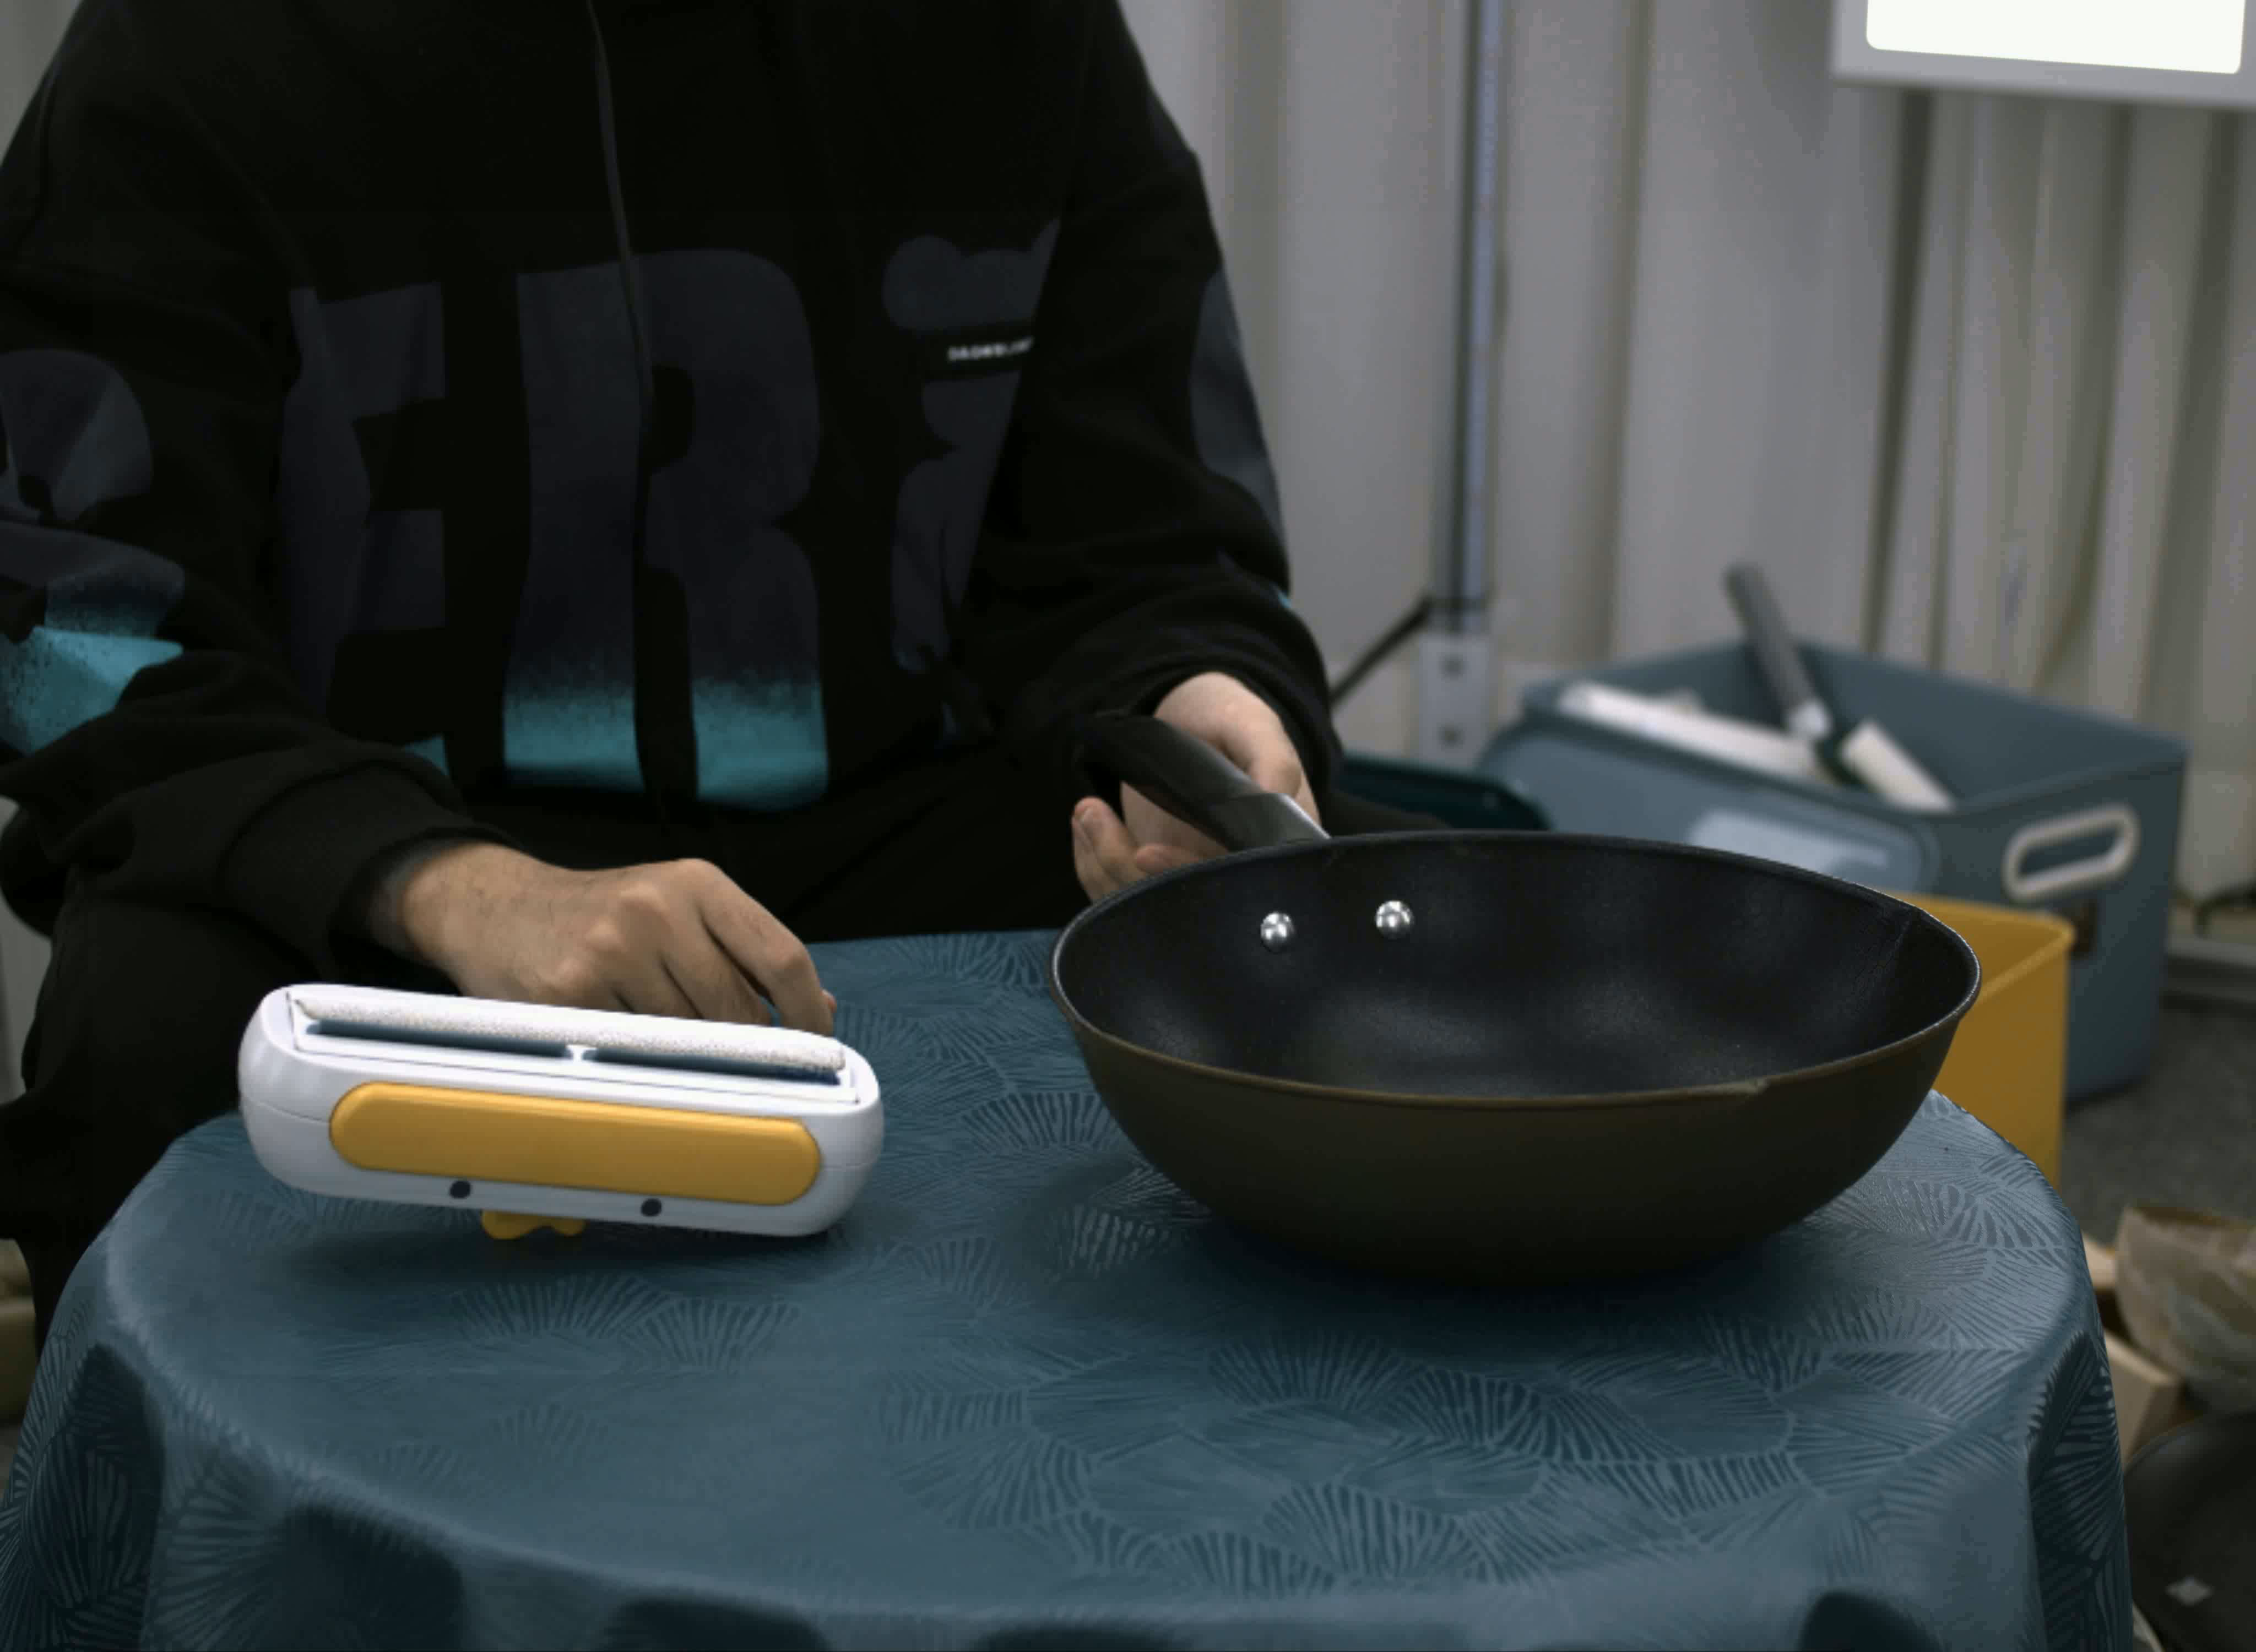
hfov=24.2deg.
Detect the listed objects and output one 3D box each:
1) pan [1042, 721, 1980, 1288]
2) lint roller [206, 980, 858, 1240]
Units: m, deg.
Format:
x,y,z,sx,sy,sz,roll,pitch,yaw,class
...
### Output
x,y,z,sx,sy,sz,roll,pitch,yaw,class
0.080,0.054,1.676,0.289,0.087,0.458,-6,16,-22,pan
-0.186,0.076,1.616,0.193,0.075,0.191,3,13,-11,lint roller
